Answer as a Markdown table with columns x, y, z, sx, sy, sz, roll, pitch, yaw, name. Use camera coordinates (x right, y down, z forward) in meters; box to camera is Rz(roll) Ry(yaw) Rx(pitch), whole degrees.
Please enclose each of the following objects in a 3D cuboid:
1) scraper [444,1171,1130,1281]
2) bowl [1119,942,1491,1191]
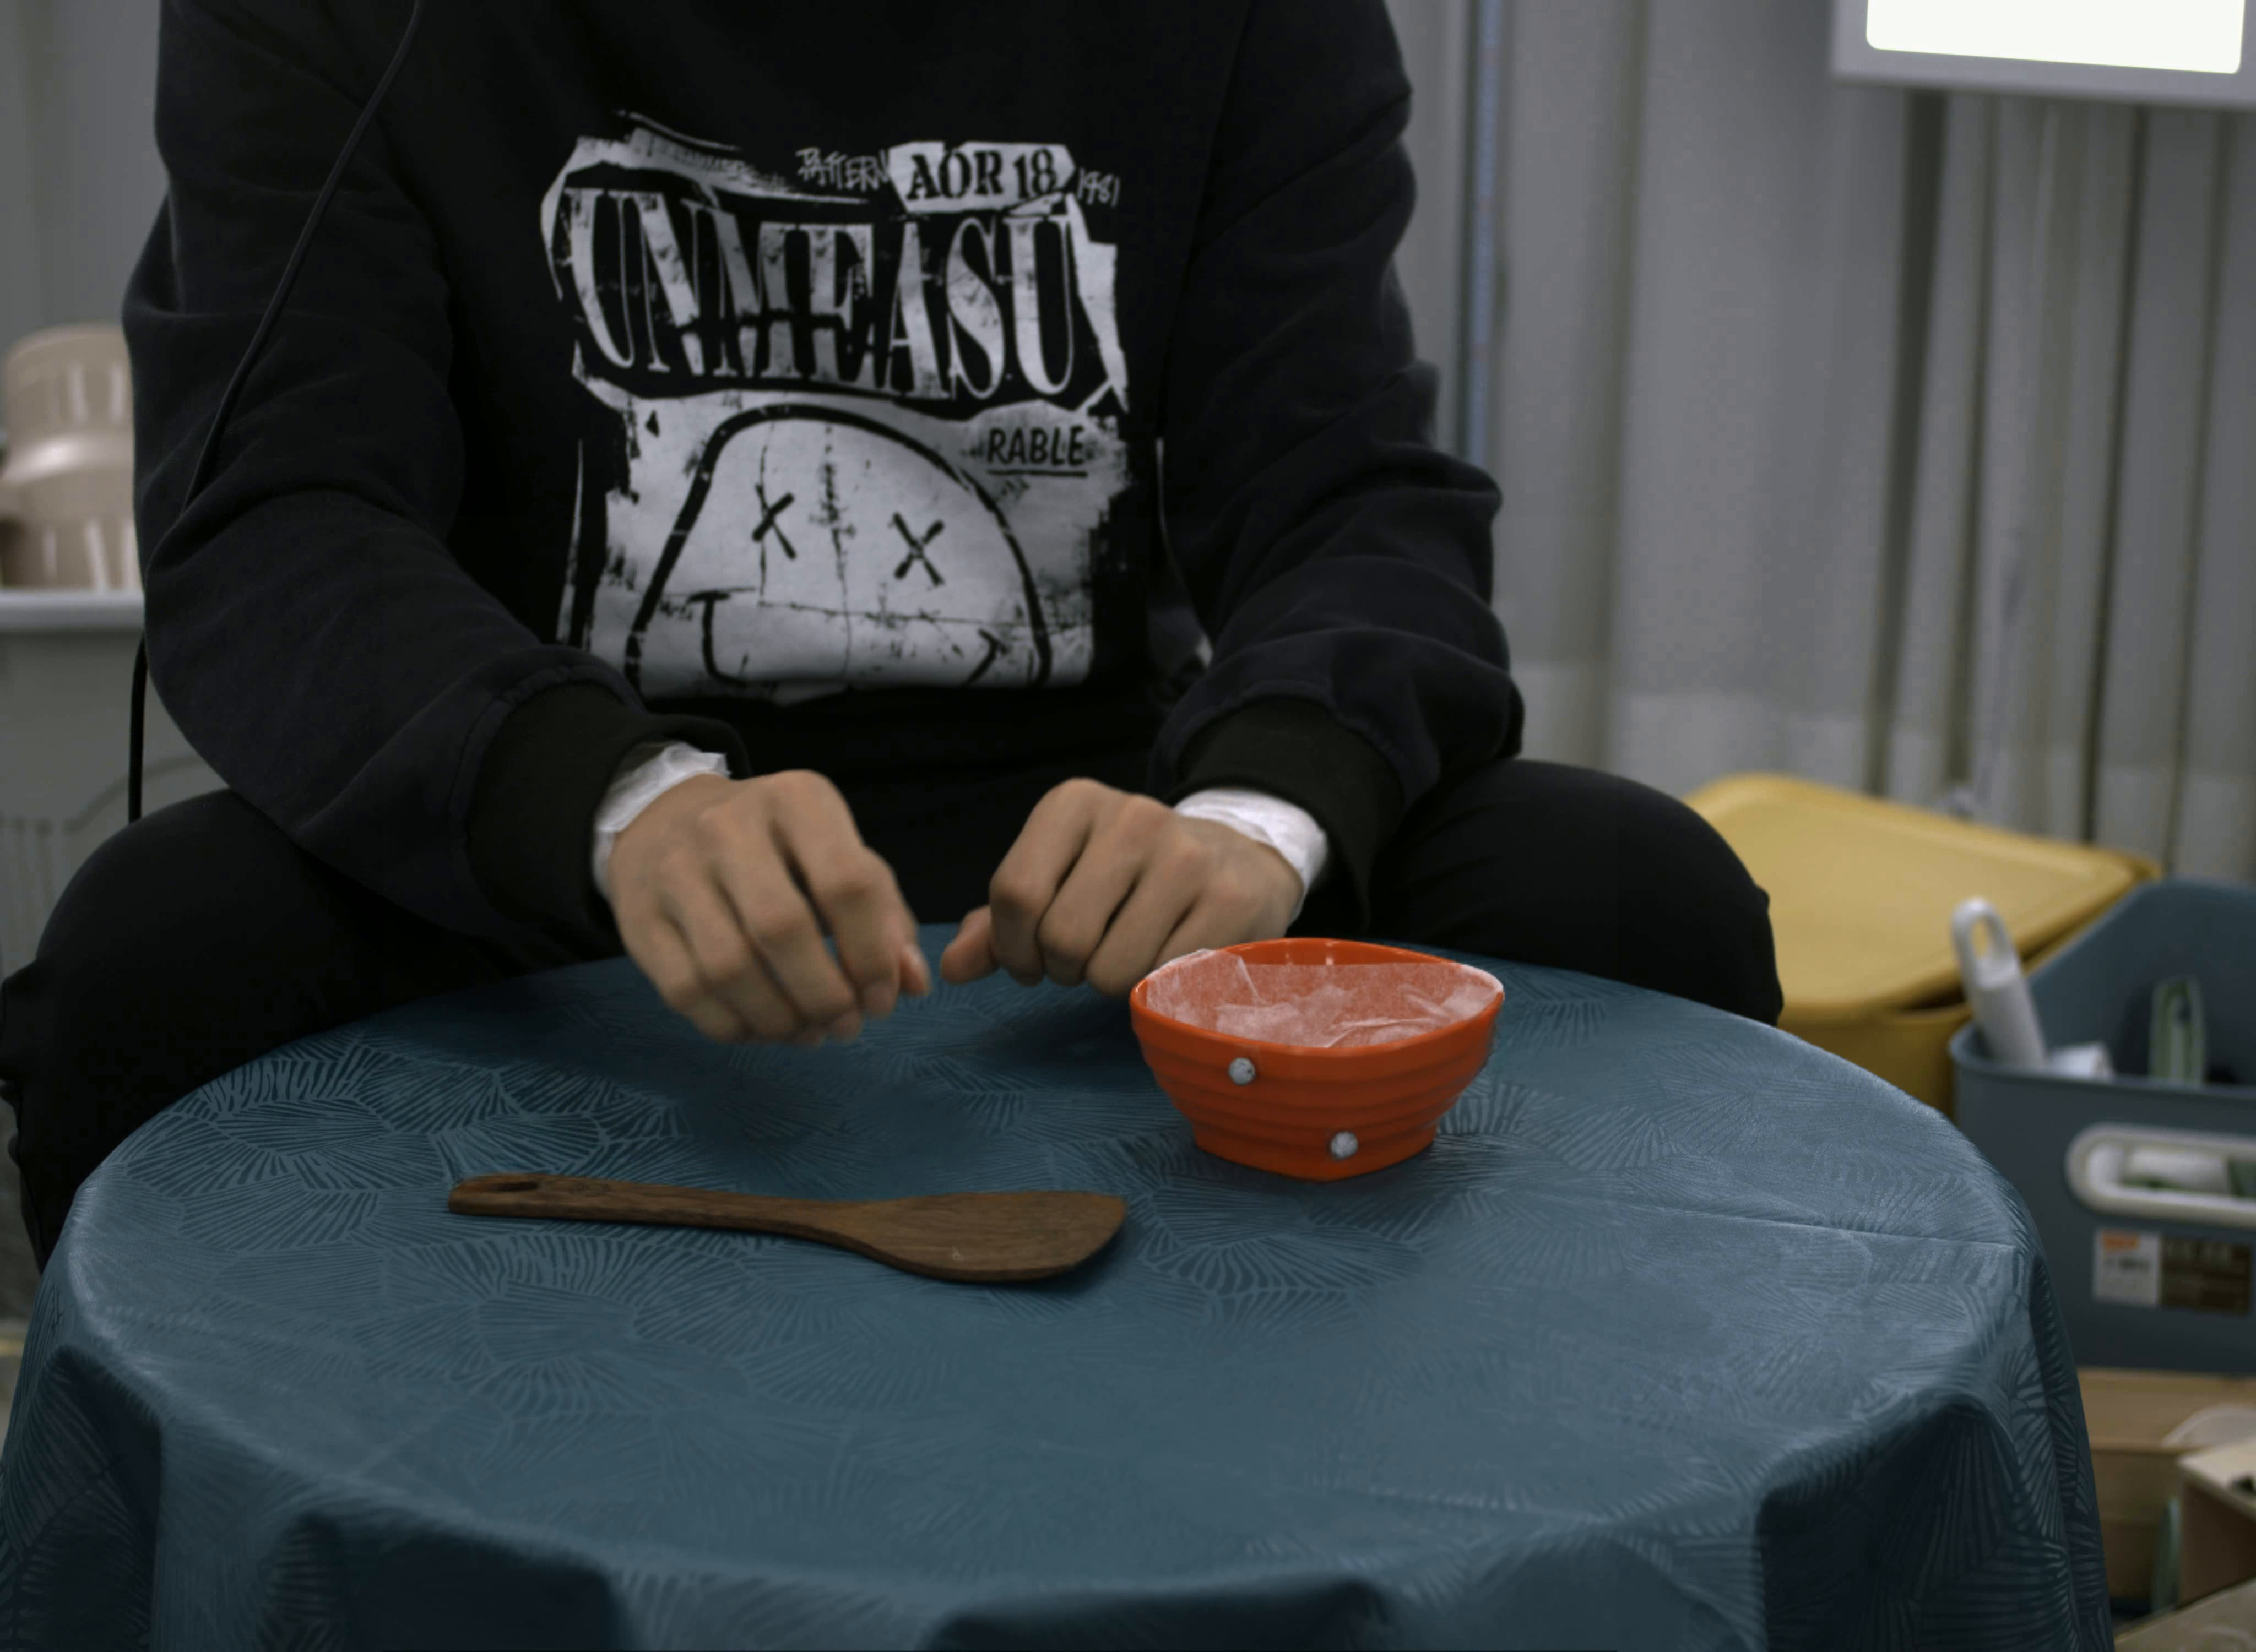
| x | y | z | sx | sy | sz | roll | pitch | yaw | name |
| --- | --- | --- | --- | --- | --- | --- | --- | --- | --- |
| -0.105 | 0.117 | 1.590 | 0.210 | 0.011 | 0.076 | 4 | 15 | 12 | scraper |
| 0.057 | 0.079 | 1.669 | 0.118 | 0.052 | 0.118 | -3 | 18 | 1 | bowl |
